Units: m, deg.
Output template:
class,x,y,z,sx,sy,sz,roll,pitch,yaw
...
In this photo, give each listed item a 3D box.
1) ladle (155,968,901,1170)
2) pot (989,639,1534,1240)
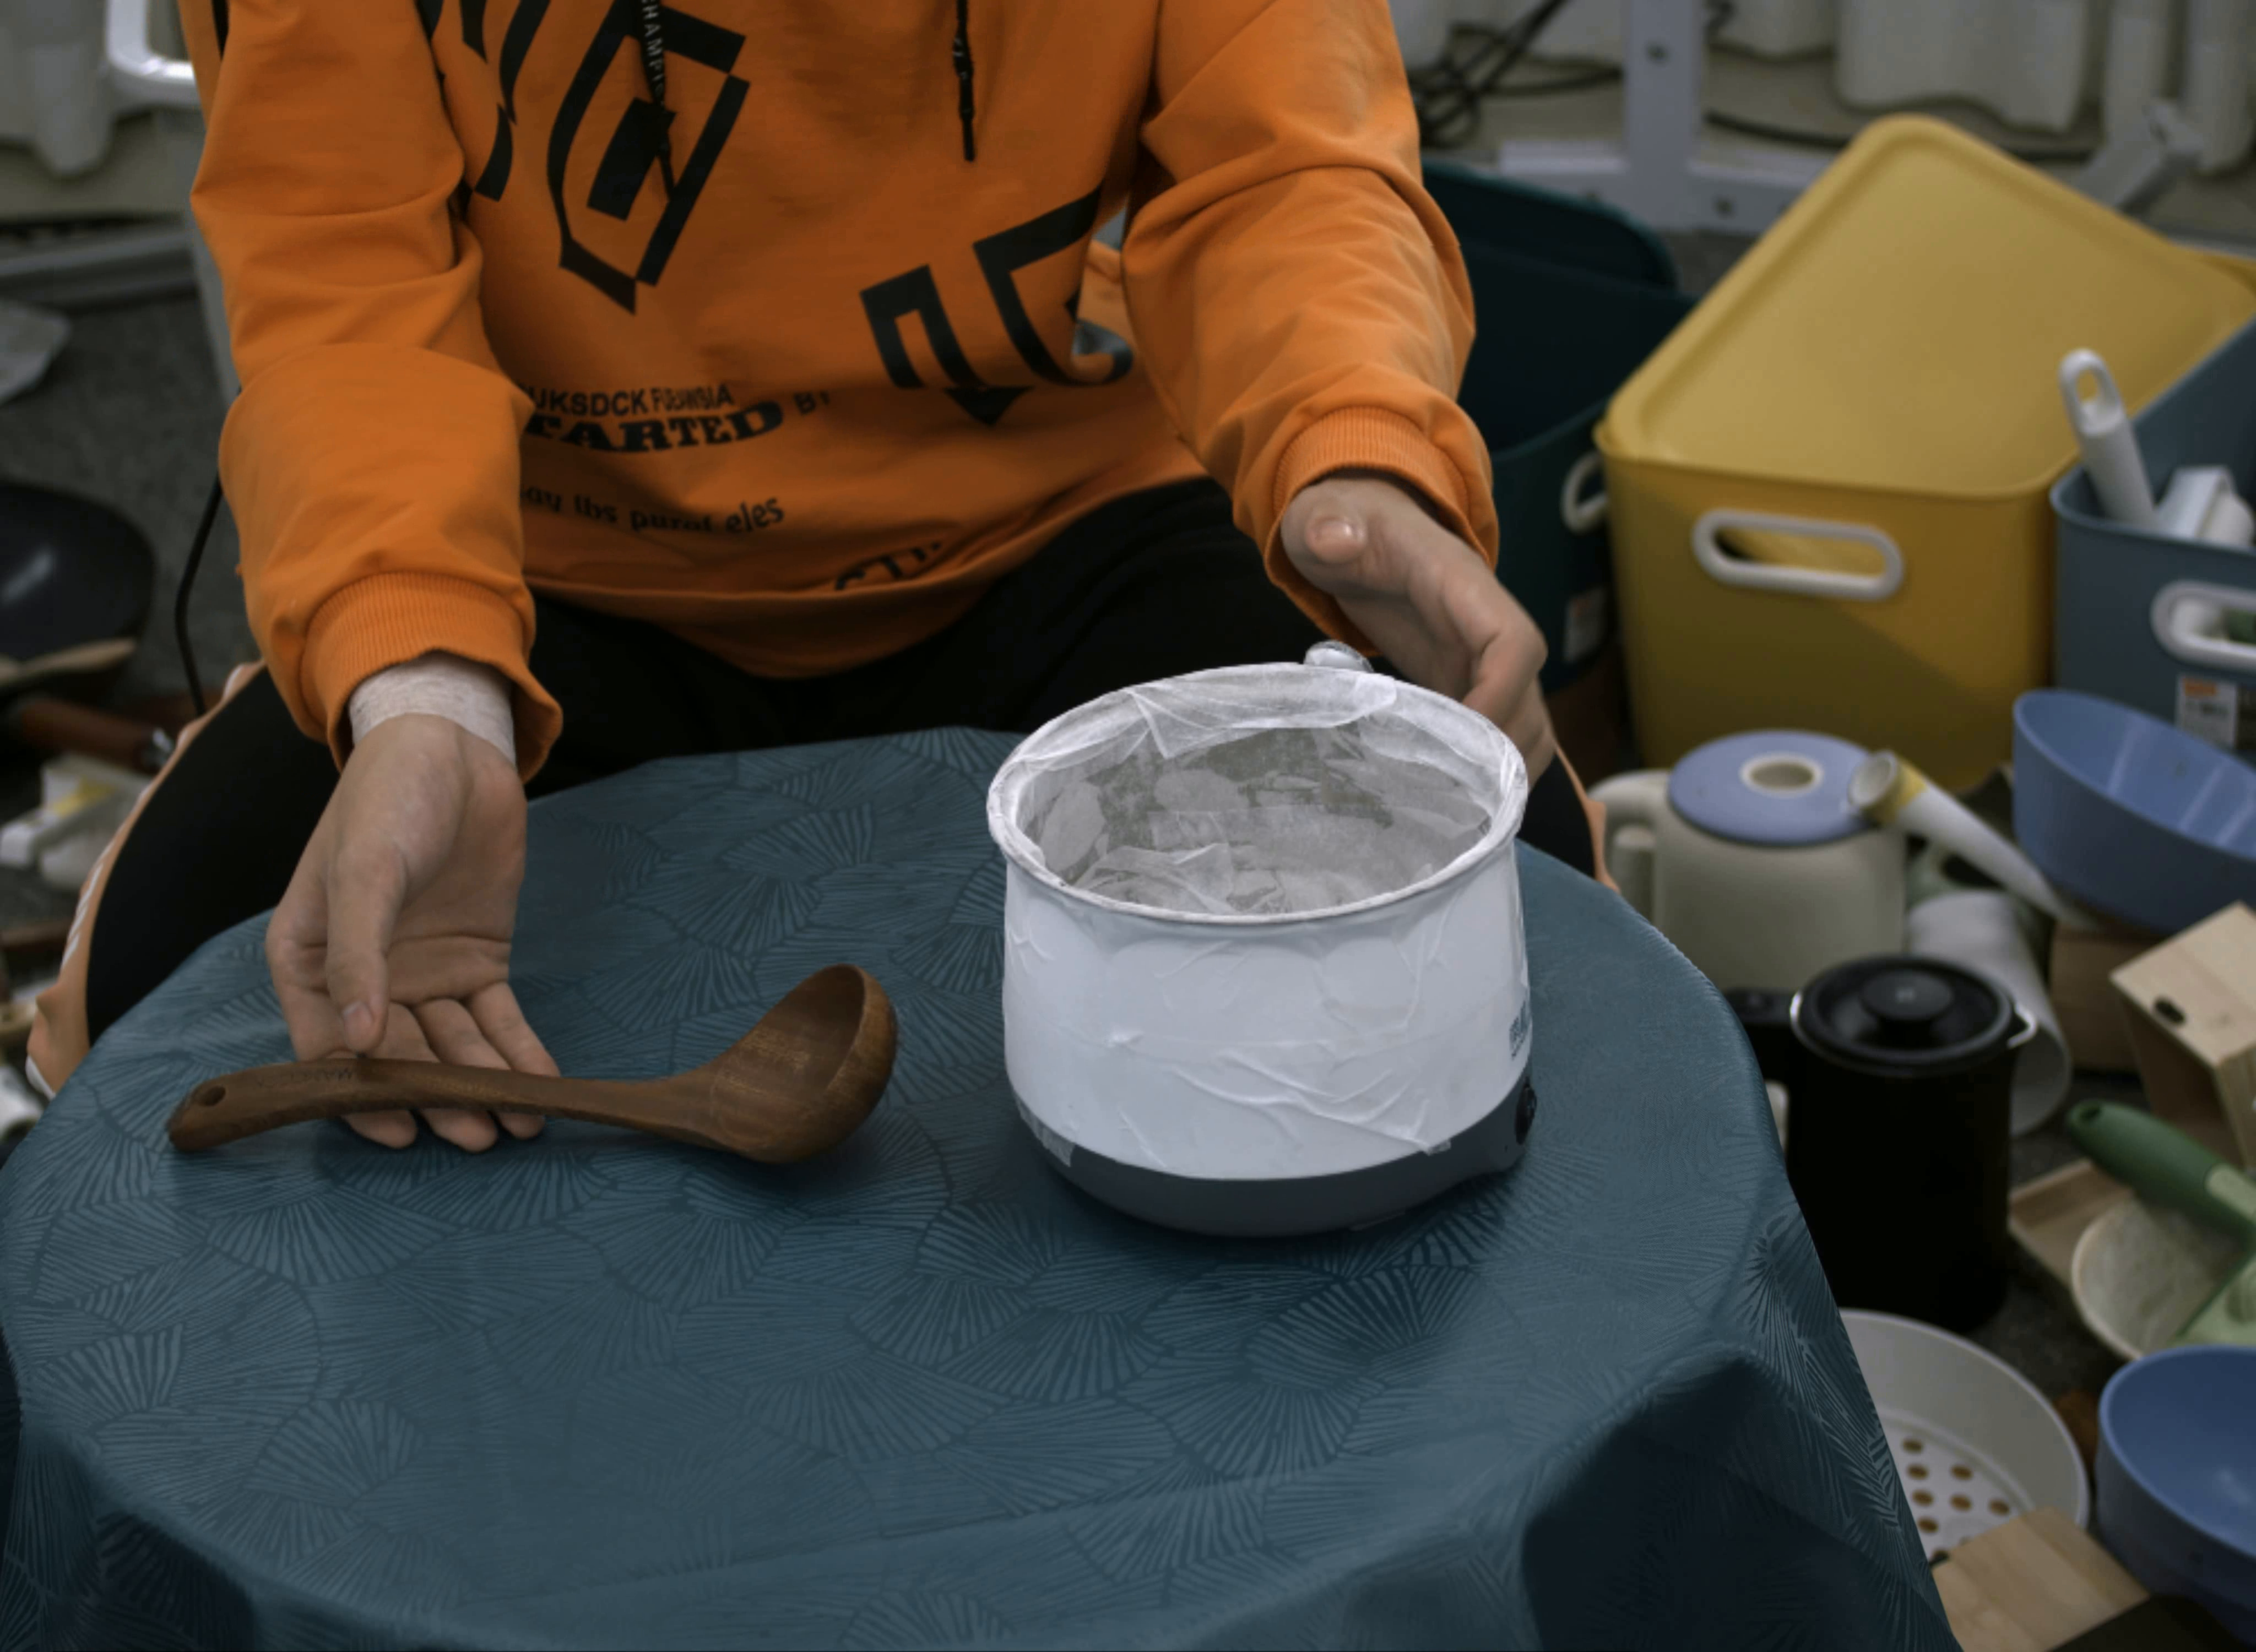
class,x,y,z,sx,sy,sz,roll,pitch,yaw
ladle,-0.204,0.083,1.889,0.259,0.064,0.078,0,36,5
pot,0.052,0.030,1.885,0.177,0.135,0.238,4,28,14
